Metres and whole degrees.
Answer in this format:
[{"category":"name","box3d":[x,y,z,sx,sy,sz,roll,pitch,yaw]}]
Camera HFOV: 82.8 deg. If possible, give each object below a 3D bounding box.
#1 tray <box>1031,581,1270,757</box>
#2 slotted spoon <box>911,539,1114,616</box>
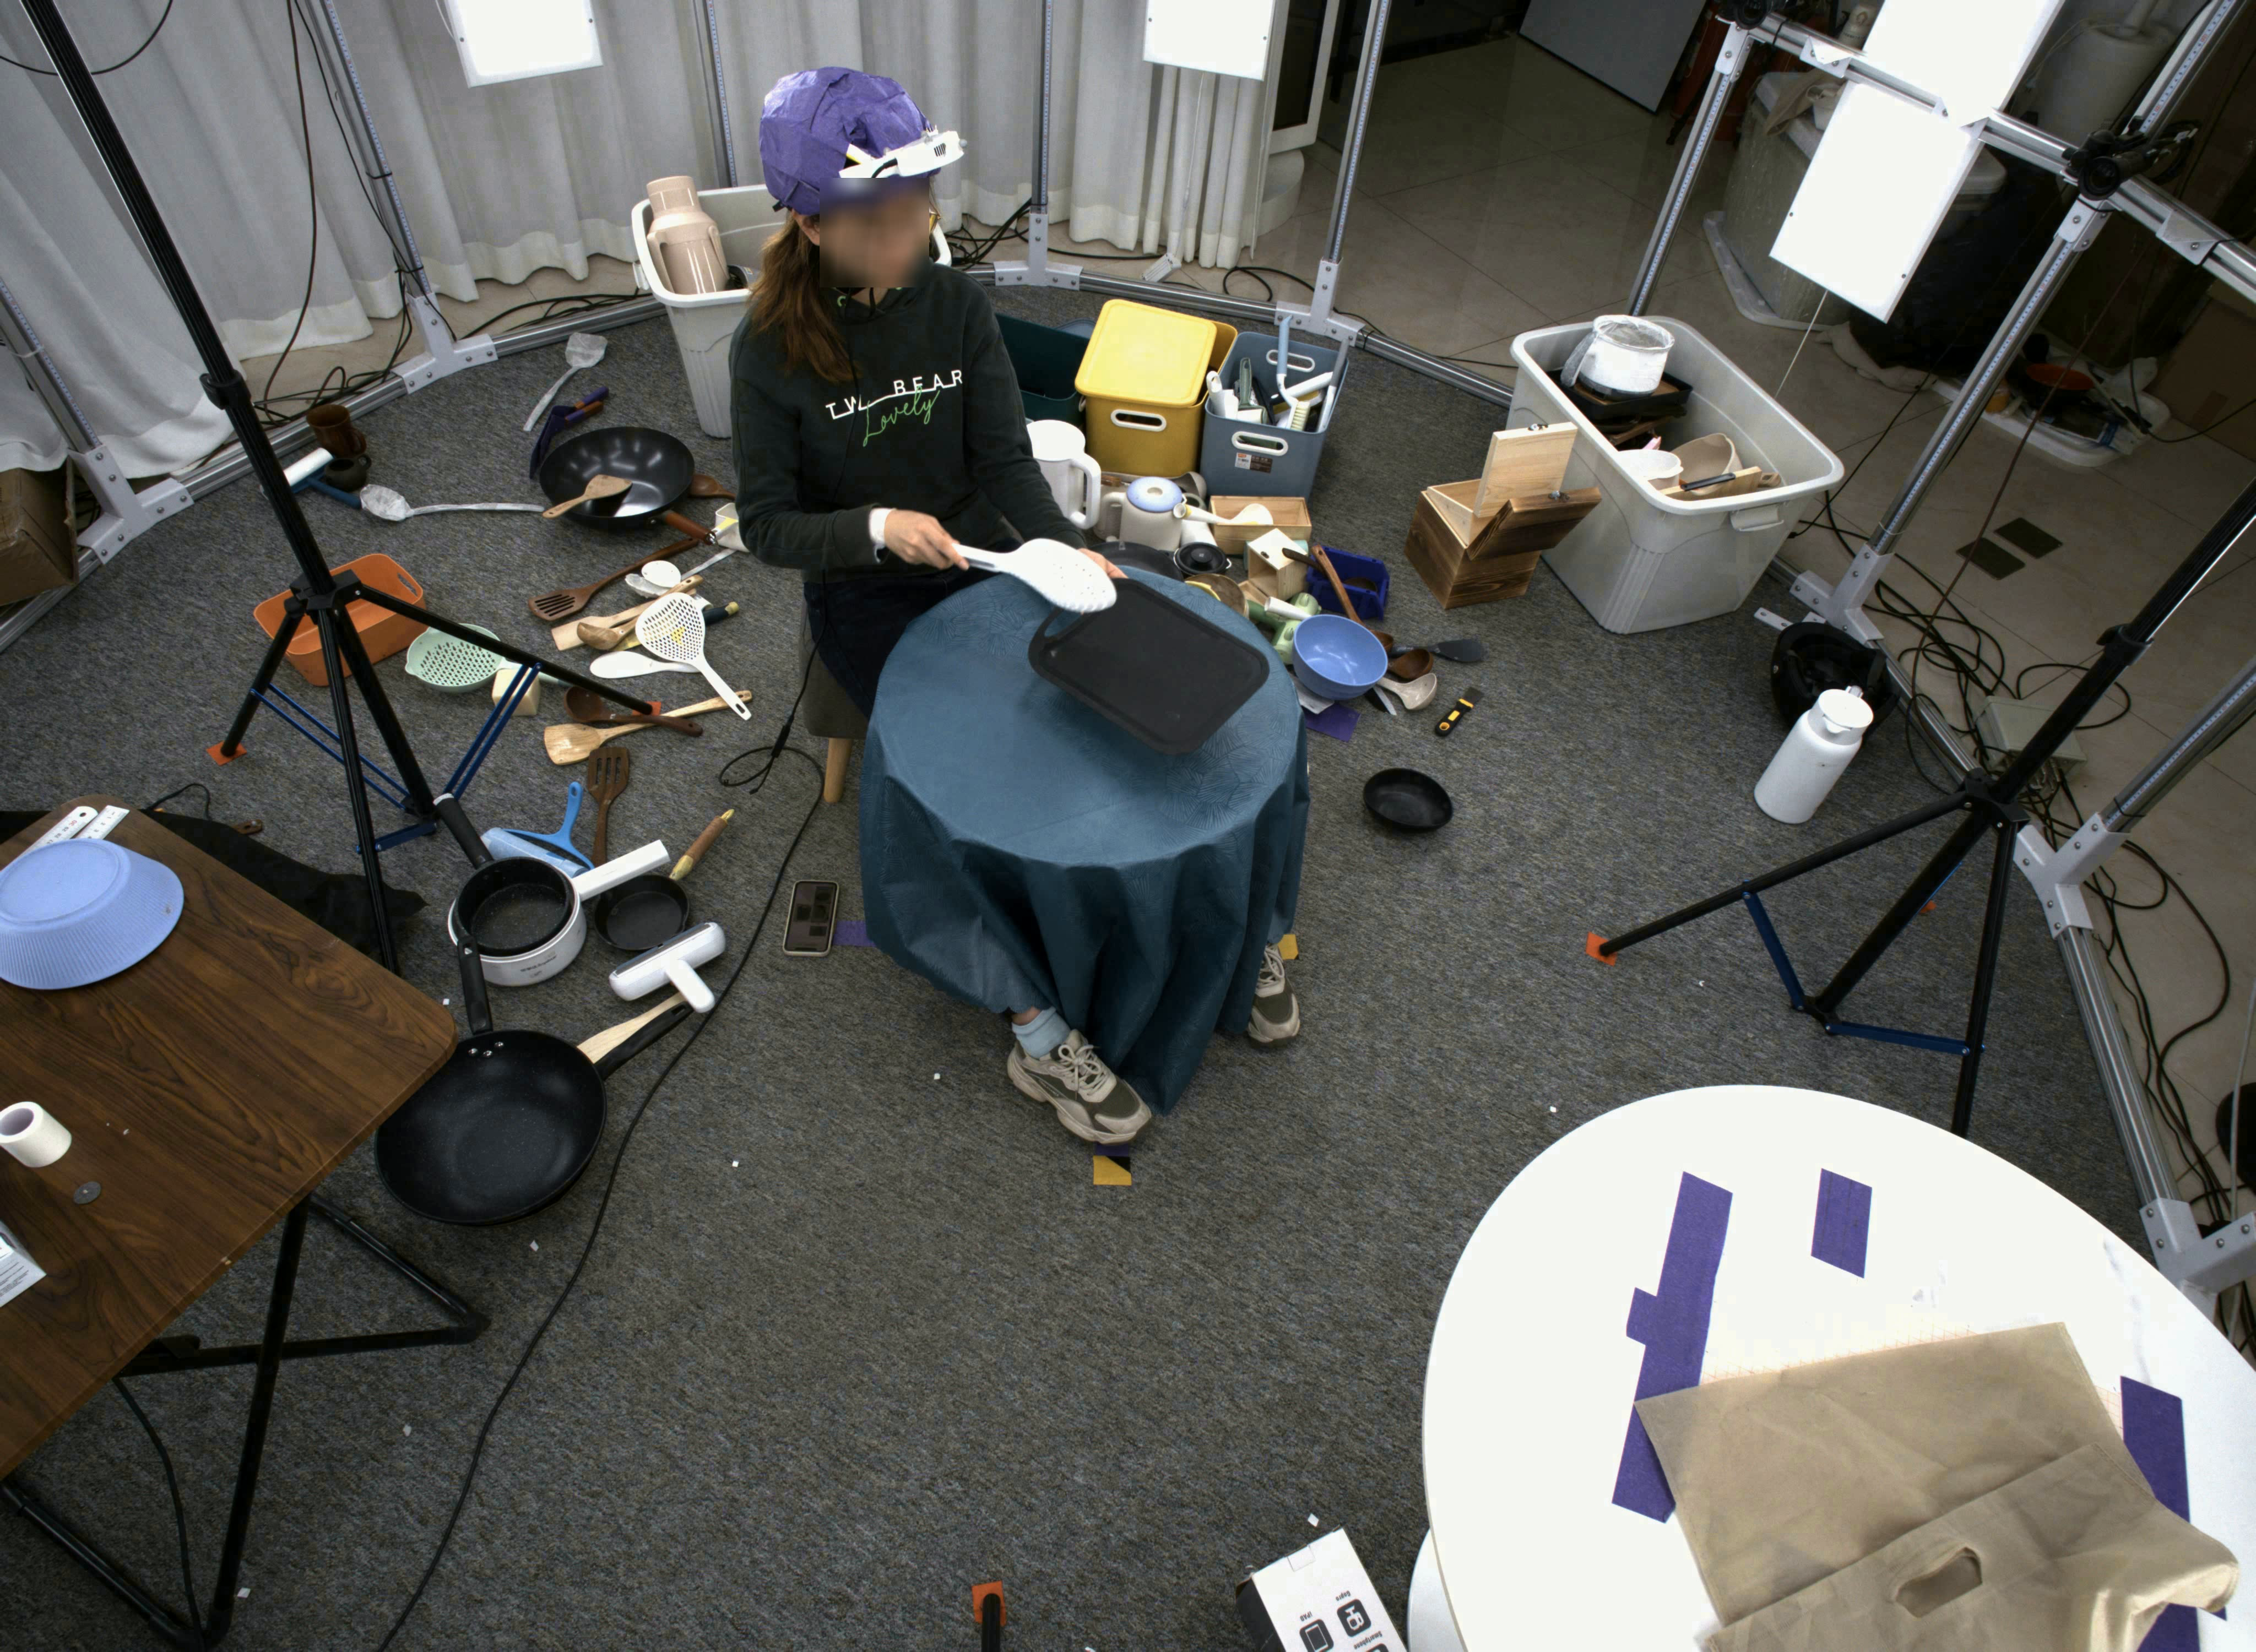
[{"category":"tray","box3d":[0.021,-0.226,1.763,0.330,0.009,0.213,36,68,29]},{"category":"slotted spoon","box3d":[-0.165,-0.348,1.738,0.354,0.133,0.046,25,71,36]}]
